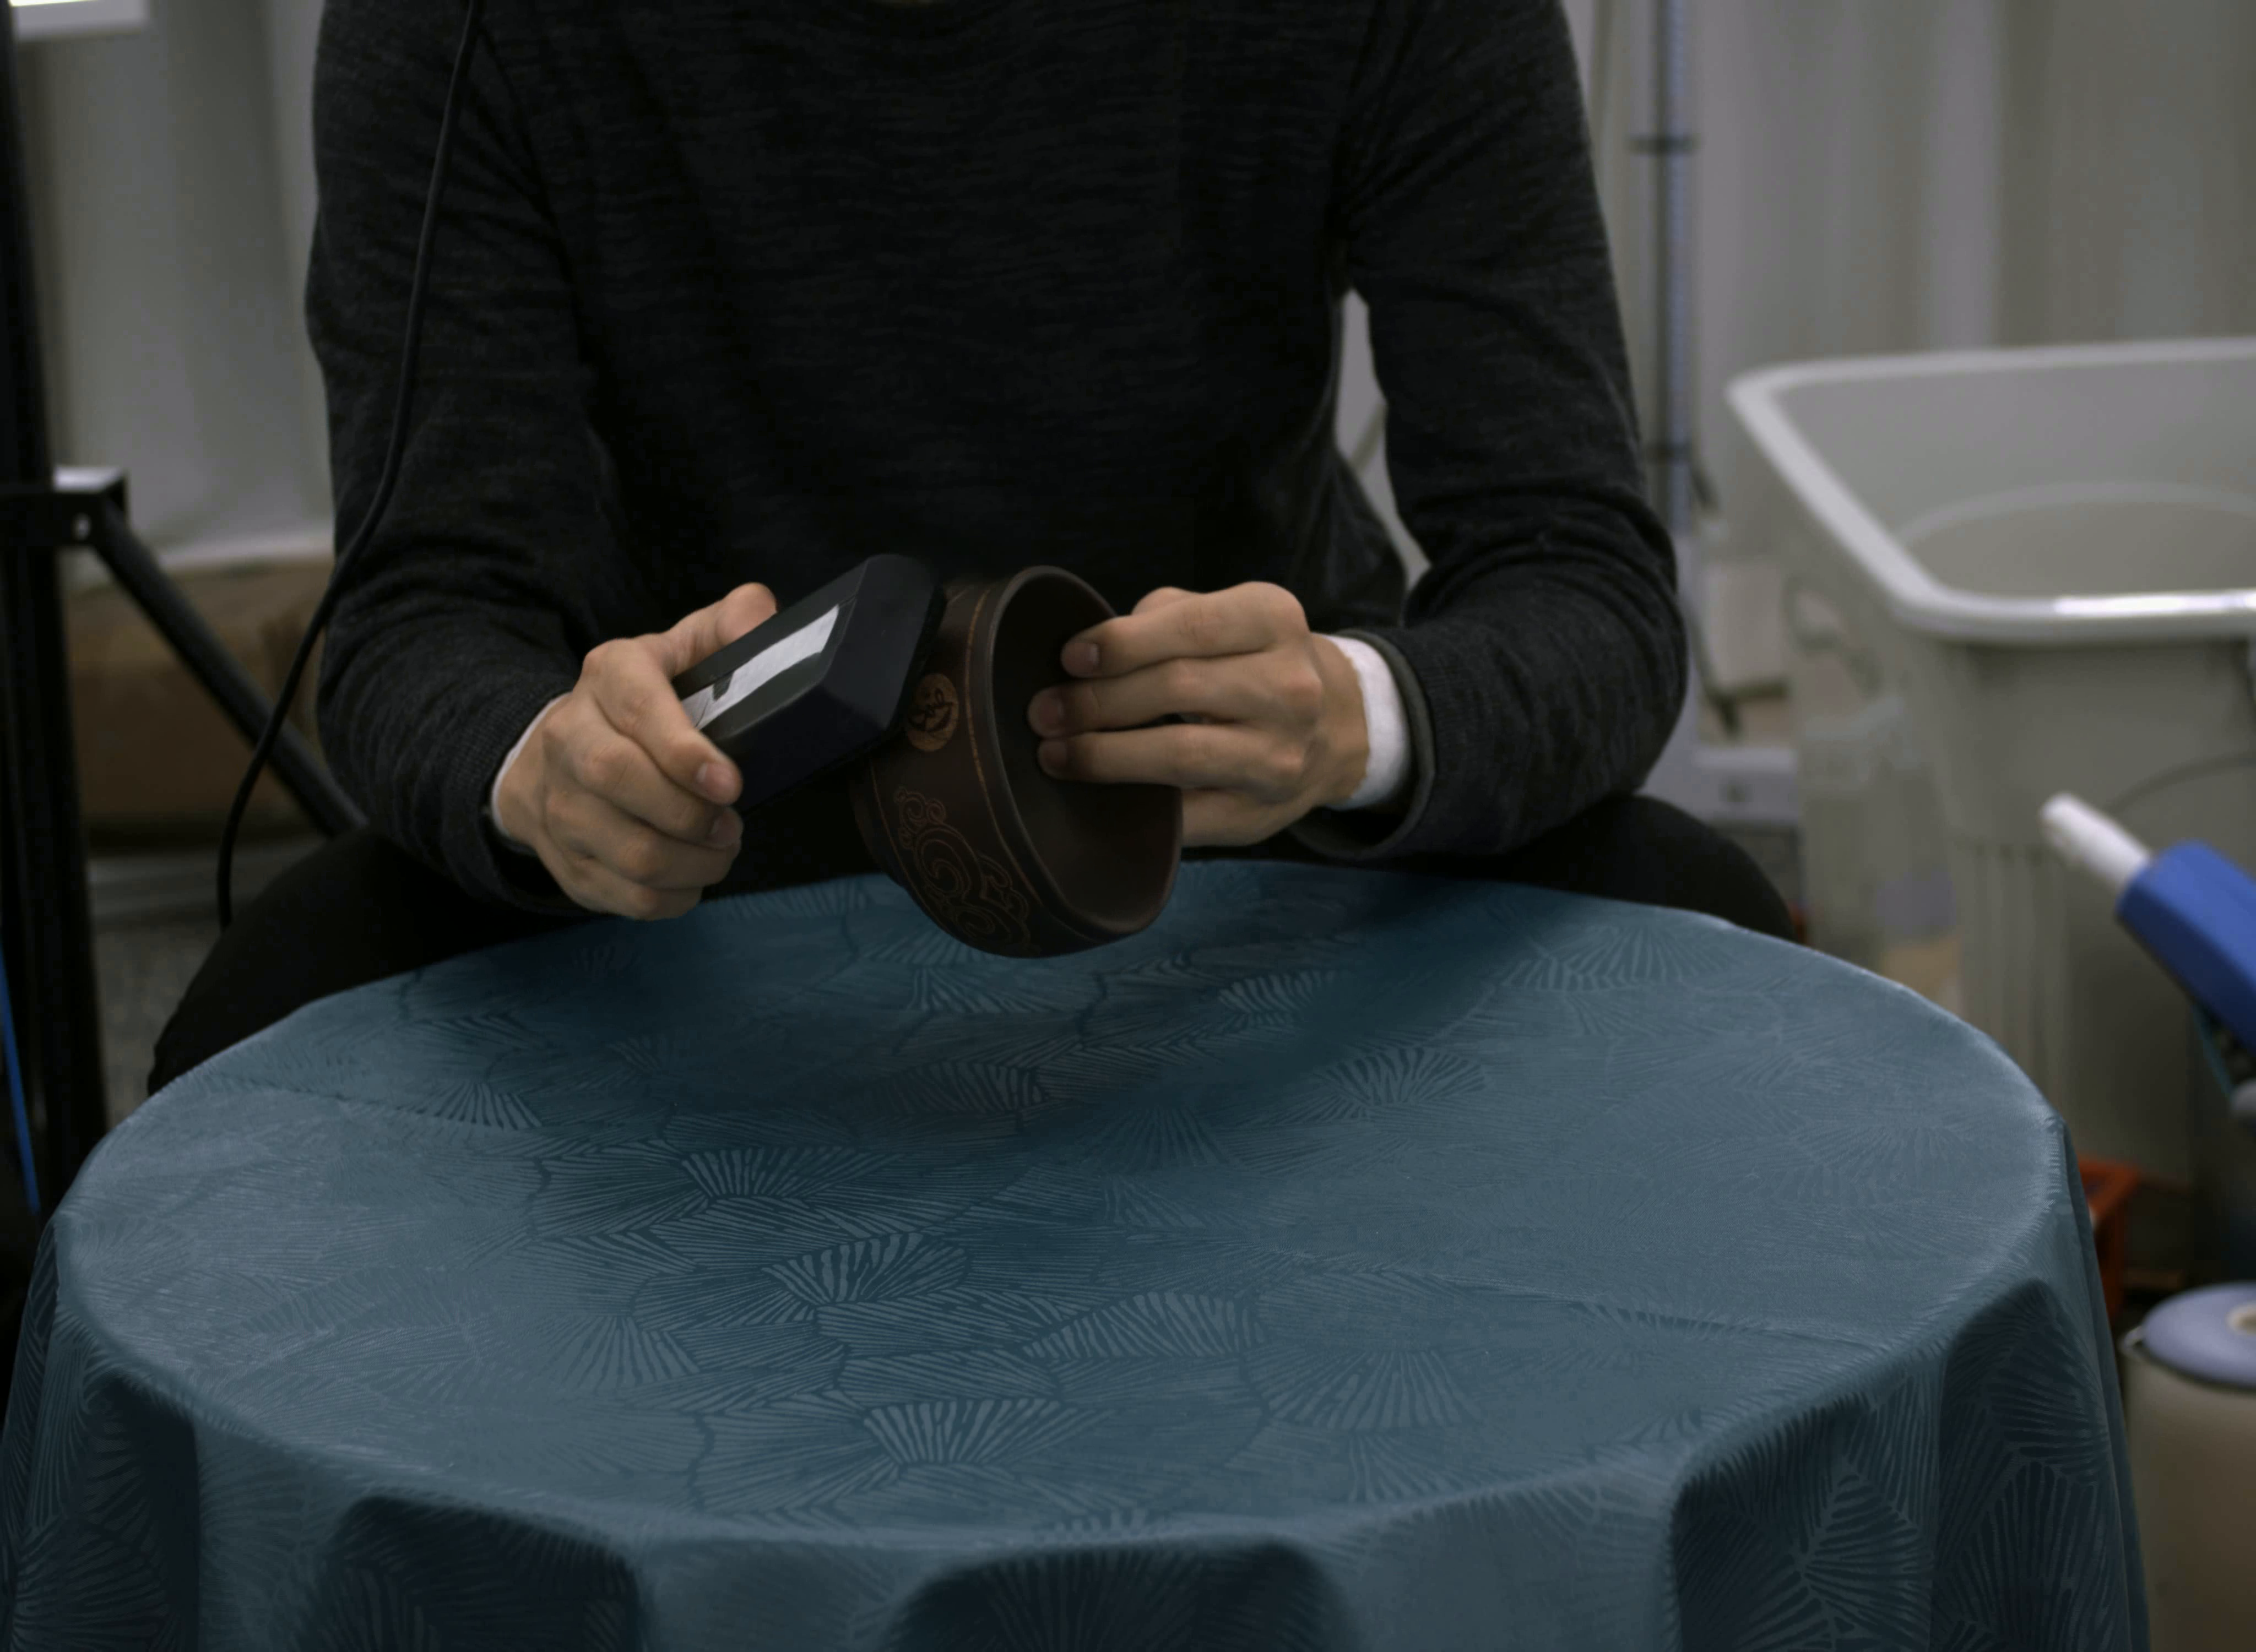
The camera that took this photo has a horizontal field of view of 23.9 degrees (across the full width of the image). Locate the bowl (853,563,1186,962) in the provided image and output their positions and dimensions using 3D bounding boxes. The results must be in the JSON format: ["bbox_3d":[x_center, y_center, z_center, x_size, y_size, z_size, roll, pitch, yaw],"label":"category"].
[{"bbox_3d":[-0.040,-0.015,1.611,0.071,0.118,0.116,-16,8,27],"label":"bowl"}]

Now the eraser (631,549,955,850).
[{"bbox_3d":[-0.101,-0.037,1.595,0.127,0.030,0.053,-30,32,51],"label":"eraser"}]
